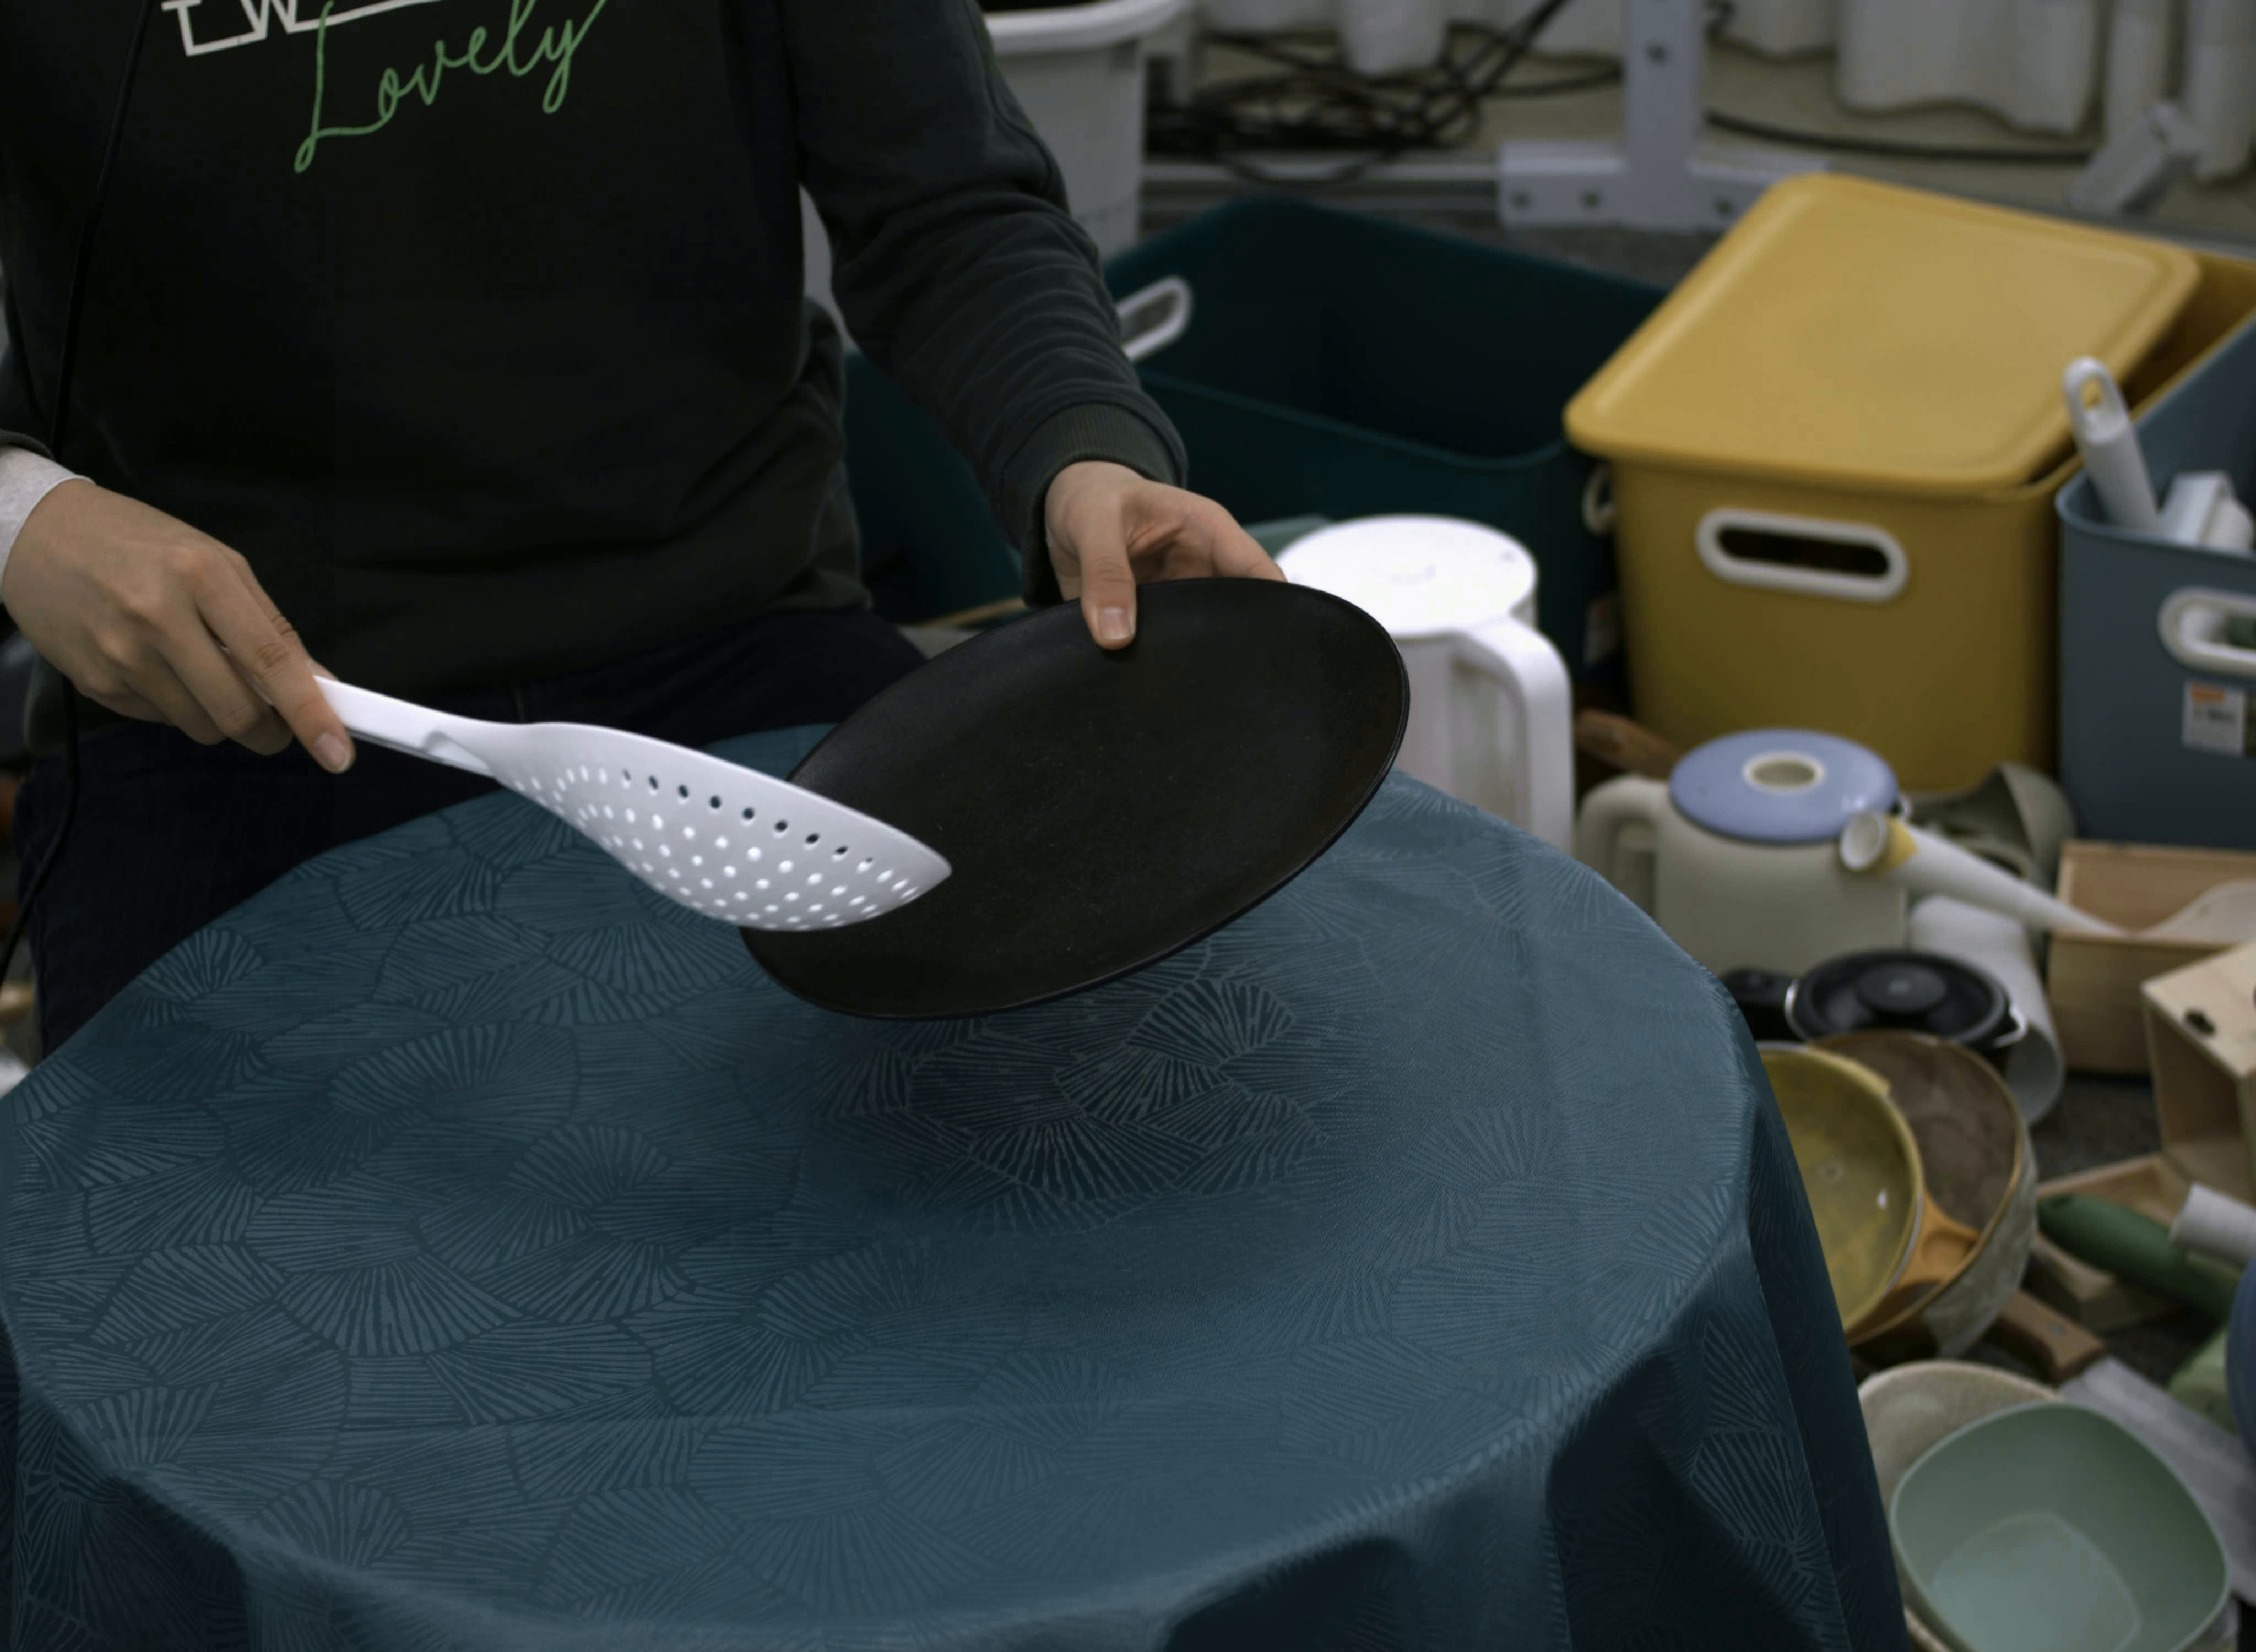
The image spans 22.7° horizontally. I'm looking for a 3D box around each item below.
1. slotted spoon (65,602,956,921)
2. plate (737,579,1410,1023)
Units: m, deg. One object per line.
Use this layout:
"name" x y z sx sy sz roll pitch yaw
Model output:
"slotted spoon" -0.213 -0.029 1.862 0.348 0.046 0.135 20 -9 29
"plate" -0.016 -0.005 1.907 0.242 0.023 0.248 -16 31 10
